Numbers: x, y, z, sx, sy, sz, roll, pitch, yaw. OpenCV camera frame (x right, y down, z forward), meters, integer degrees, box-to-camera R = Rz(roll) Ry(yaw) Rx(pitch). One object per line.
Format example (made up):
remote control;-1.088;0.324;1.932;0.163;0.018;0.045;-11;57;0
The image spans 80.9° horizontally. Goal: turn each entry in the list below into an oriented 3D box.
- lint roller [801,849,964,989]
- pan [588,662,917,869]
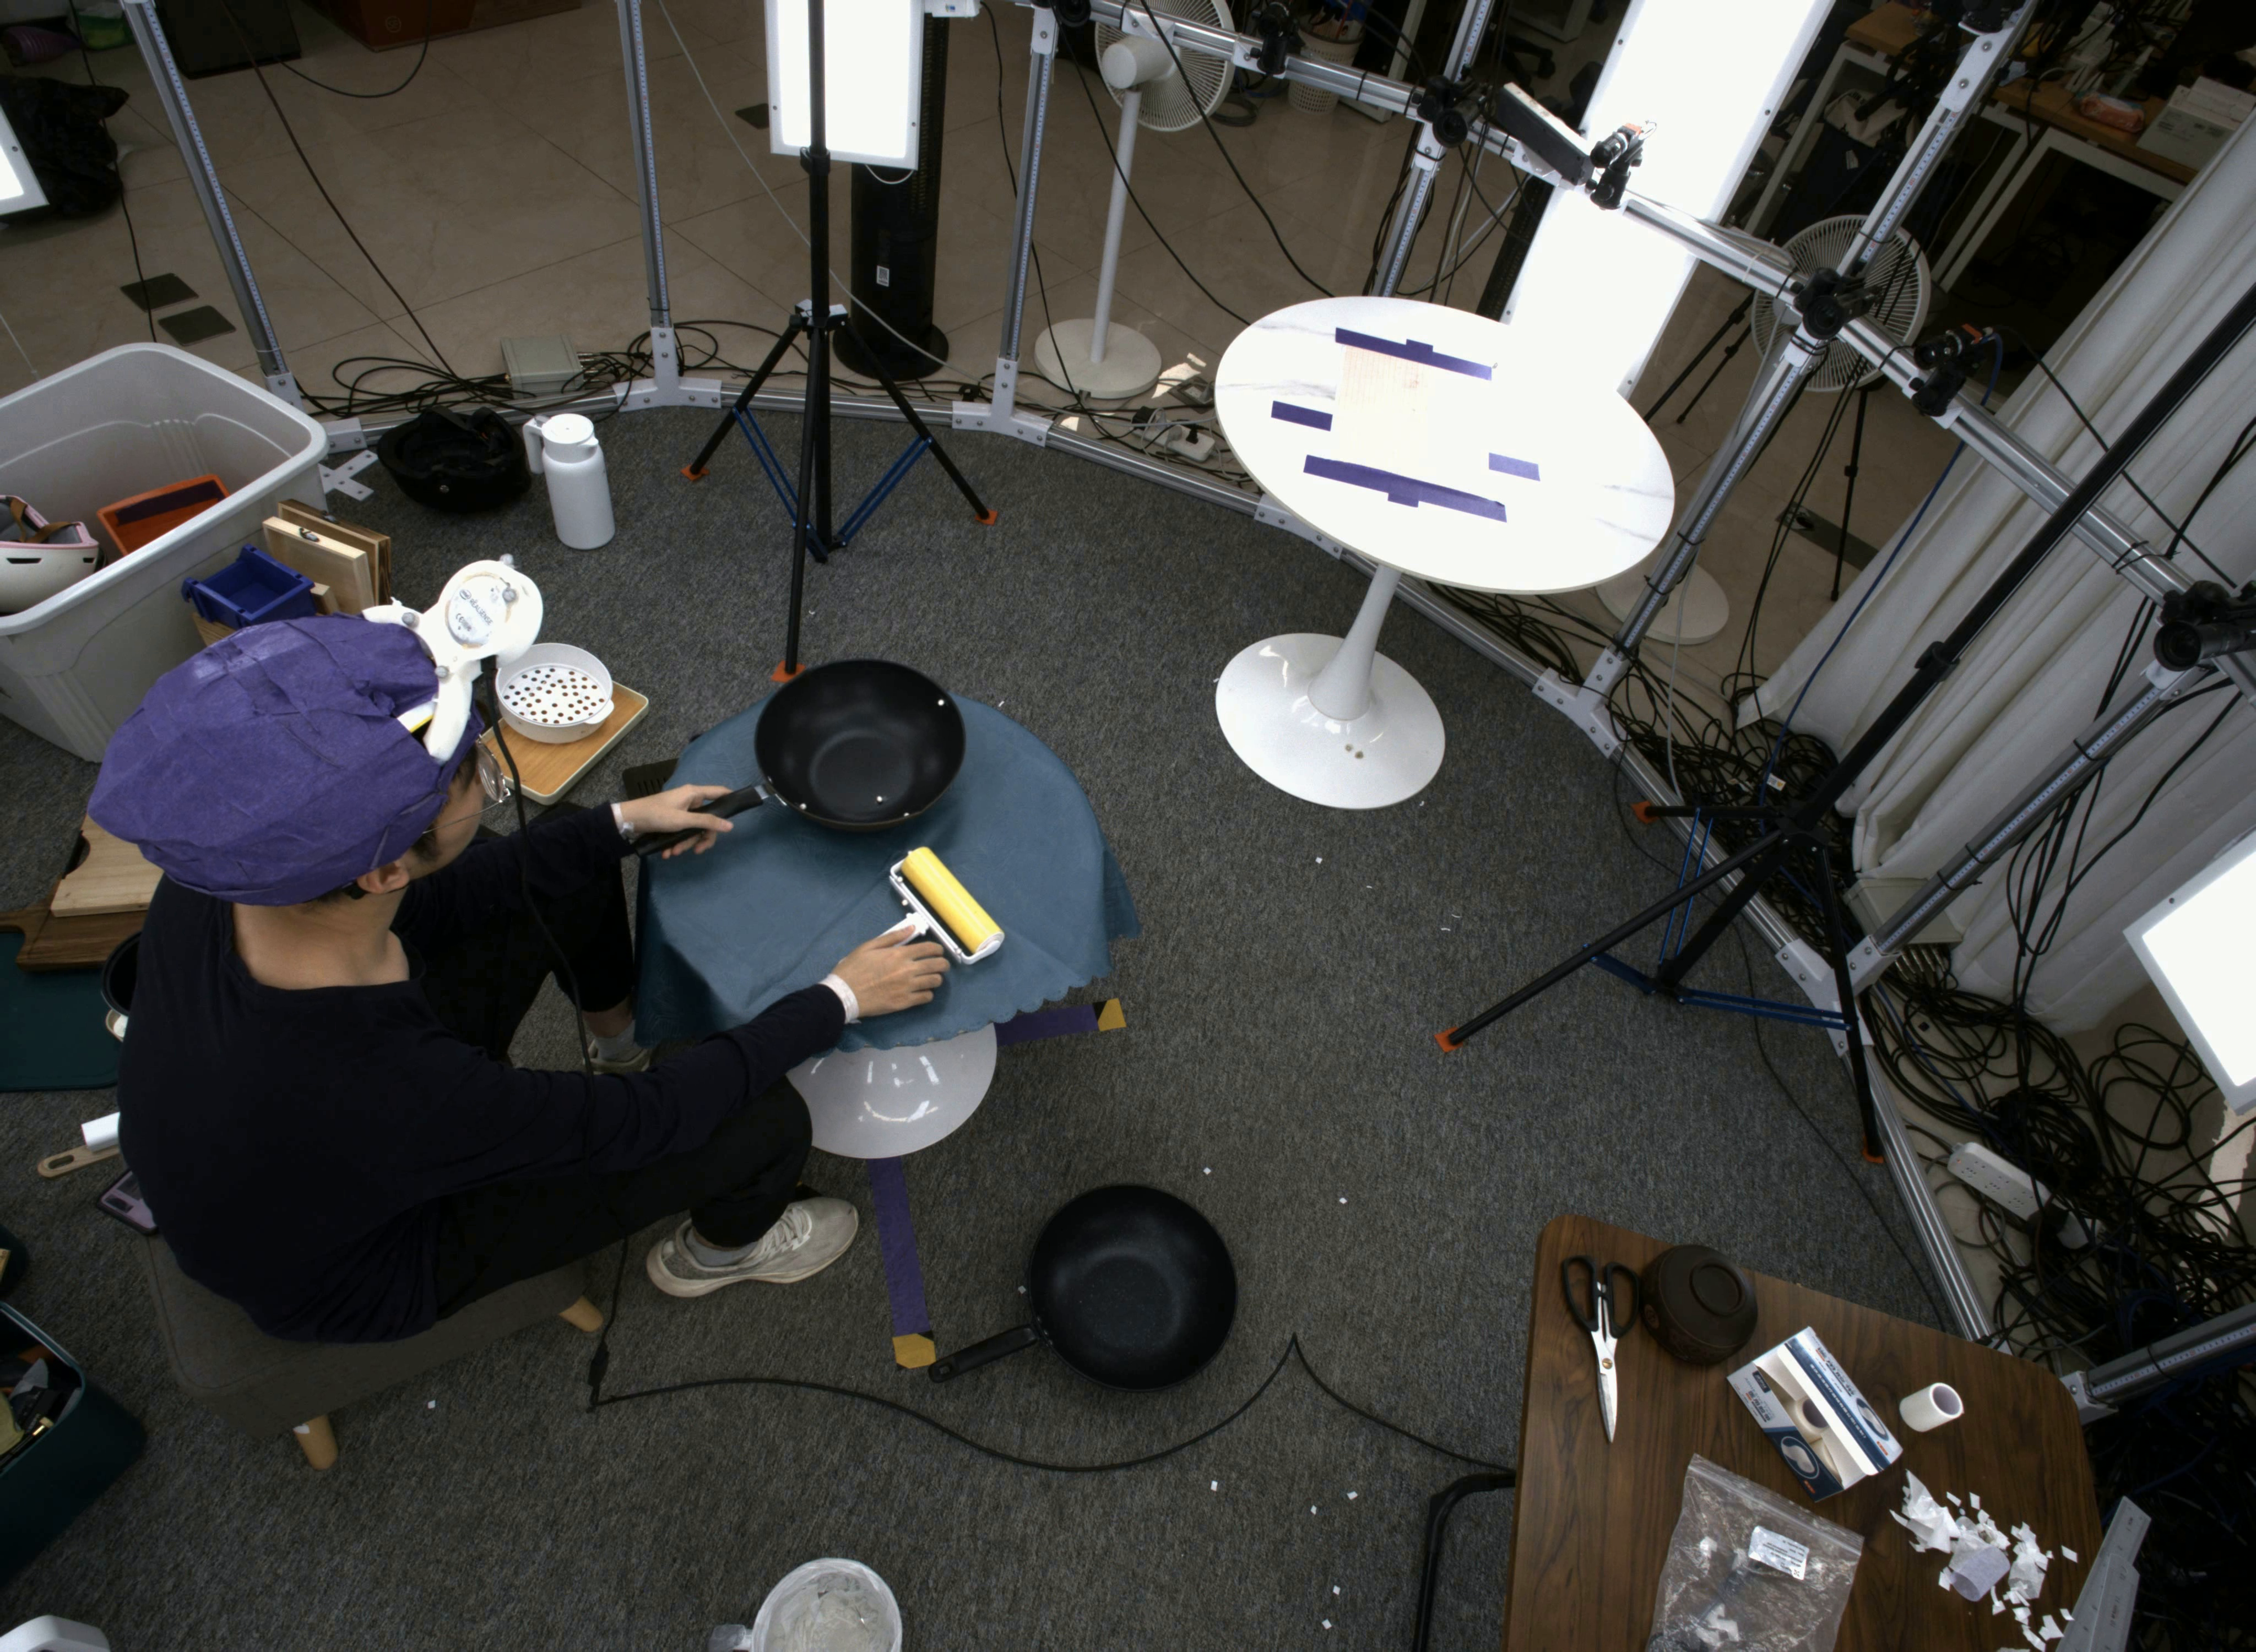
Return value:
lint roller;-0.330;0.133;1.630;0.192;0.052;0.170;-35;68;-32
pan;-0.492;-0.045;1.701;0.464;0.089;0.281;-33;67;-27
